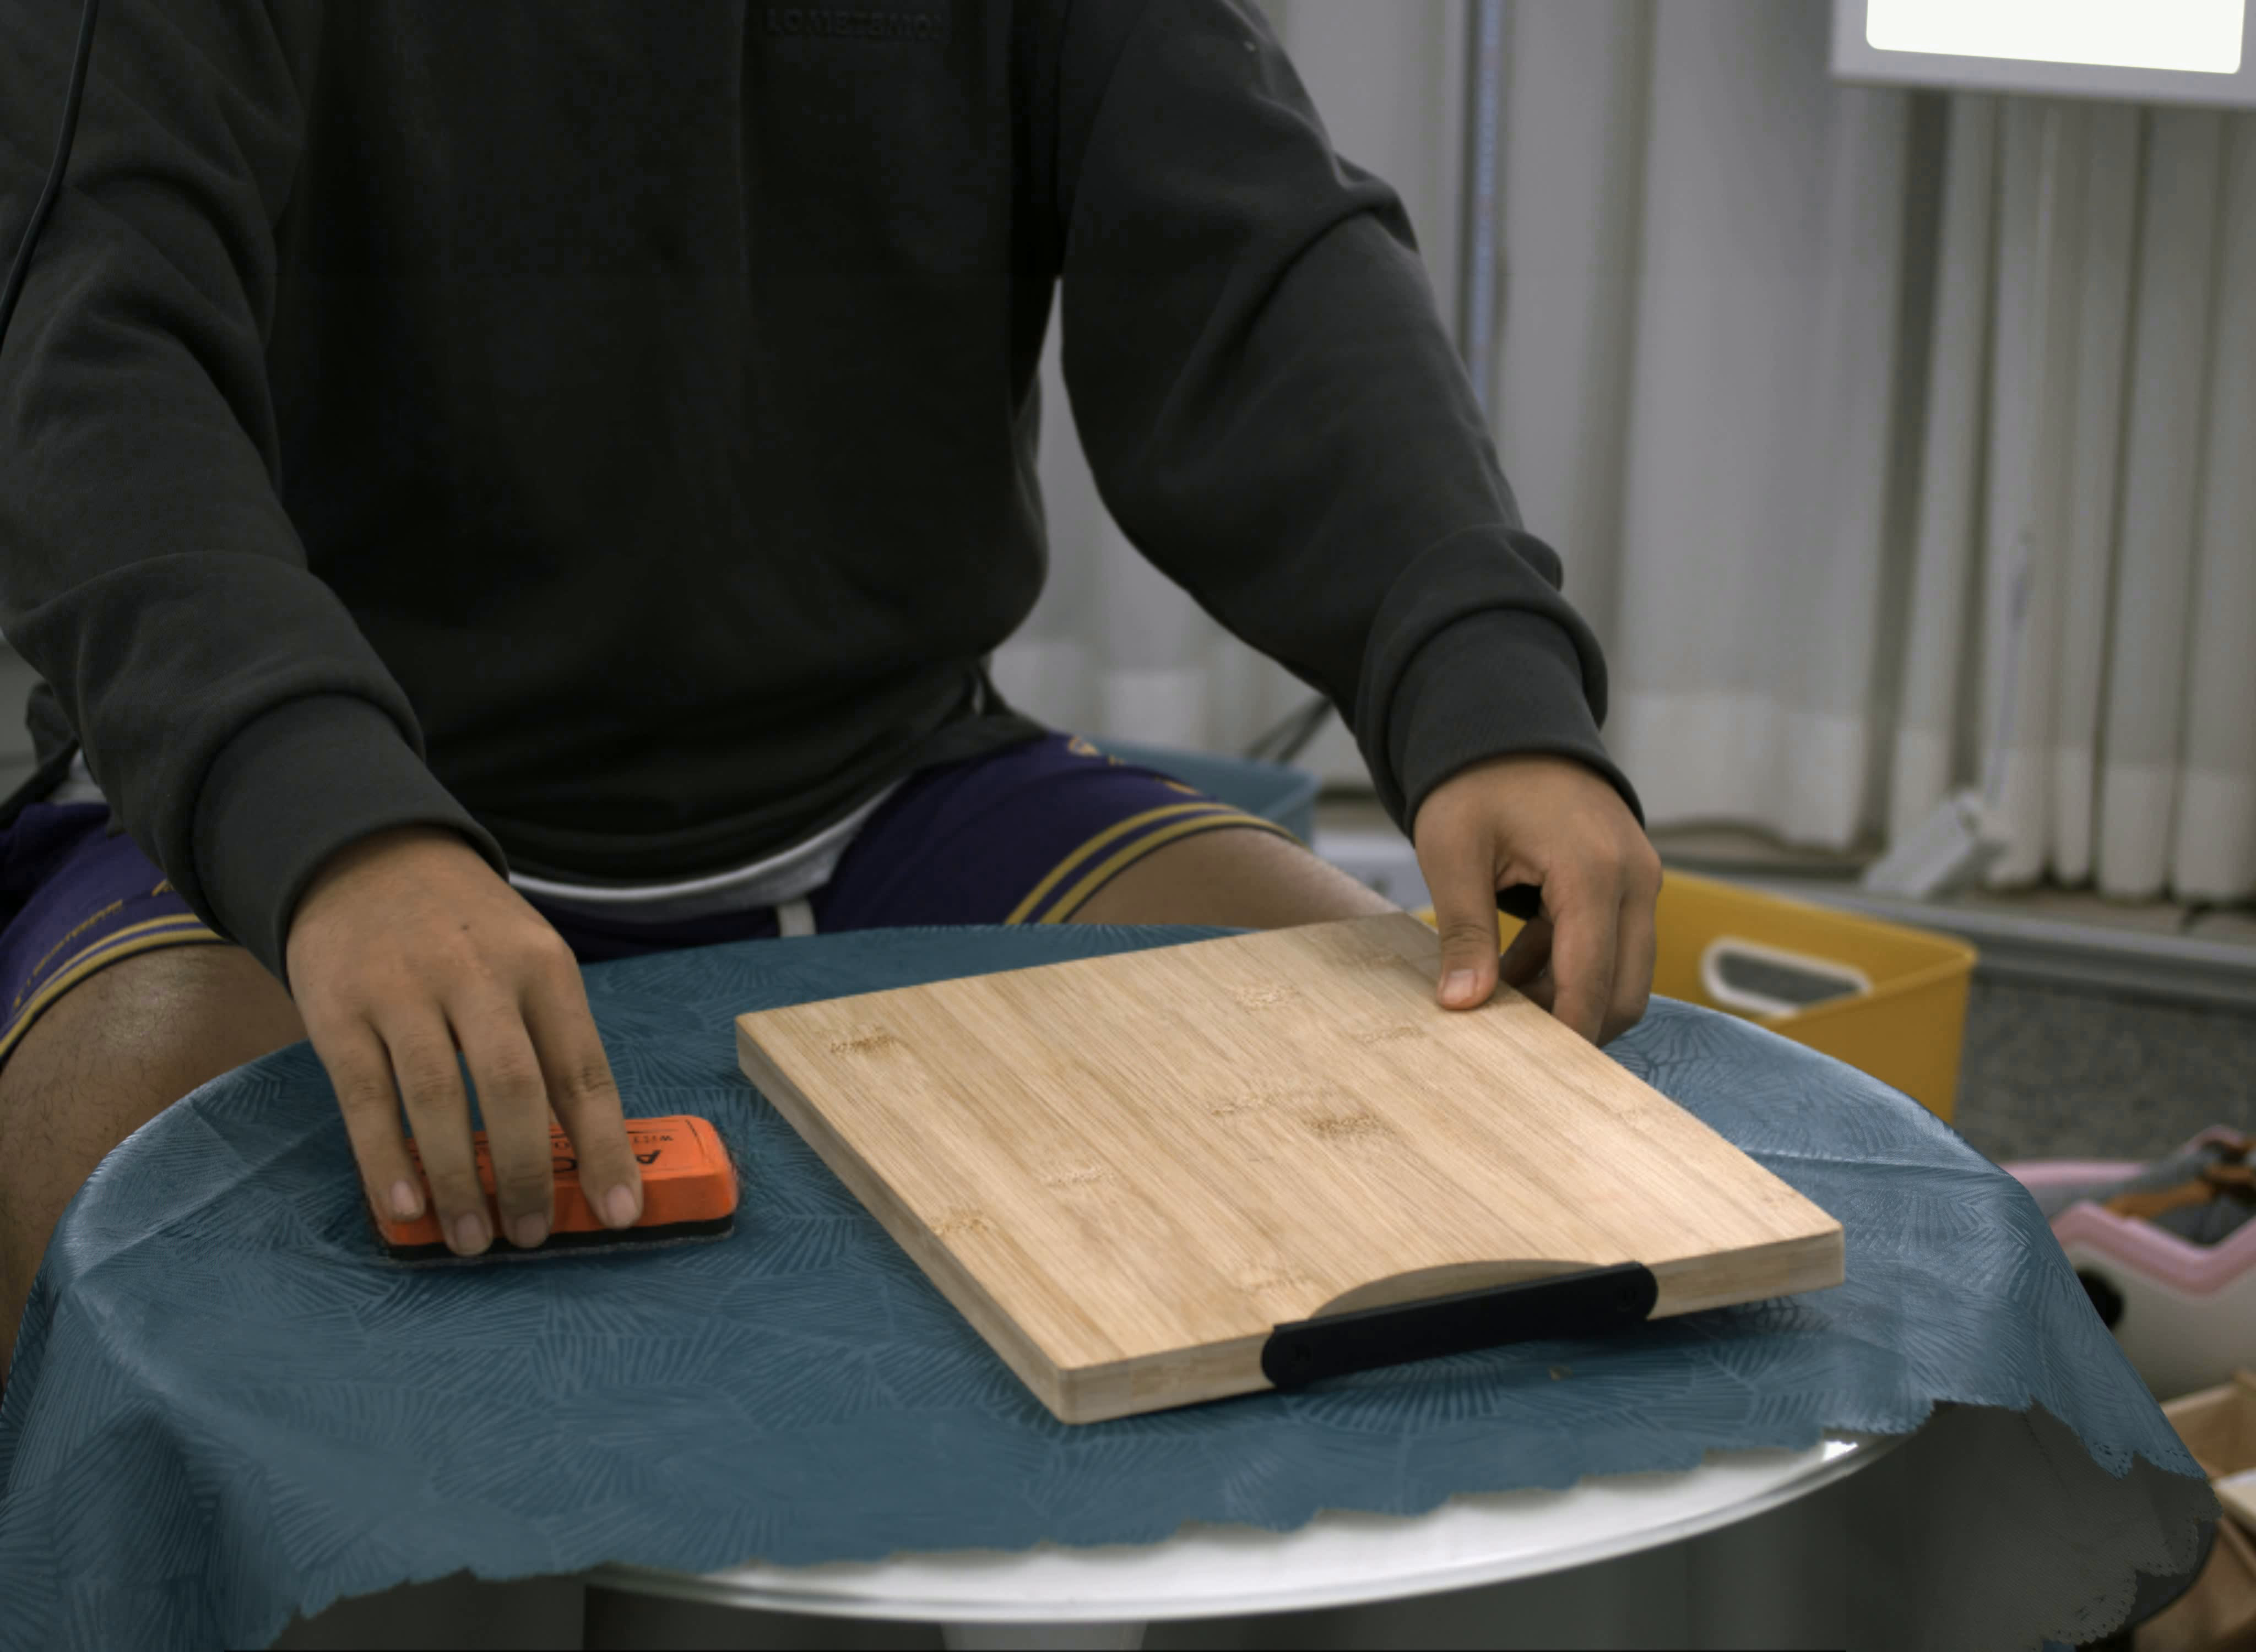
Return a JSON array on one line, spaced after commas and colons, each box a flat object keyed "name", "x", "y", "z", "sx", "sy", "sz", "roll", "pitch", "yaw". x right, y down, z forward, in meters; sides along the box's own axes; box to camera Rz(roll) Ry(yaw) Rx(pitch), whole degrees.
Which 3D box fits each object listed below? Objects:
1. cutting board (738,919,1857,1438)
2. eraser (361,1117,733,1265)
[{"name": "cutting board", "x": 0.040, "y": 0.099, "z": 1.617, "sx": 0.251, "sy": 0.024, "sz": 0.345, "roll": -9, "pitch": 18, "yaw": -19}, {"name": "eraser", "x": -0.175, "y": 0.109, "z": 1.583, "sx": 0.108, "sy": 0.023, "sz": 0.058, "roll": -3, "pitch": 16, "yaw": -14}]
